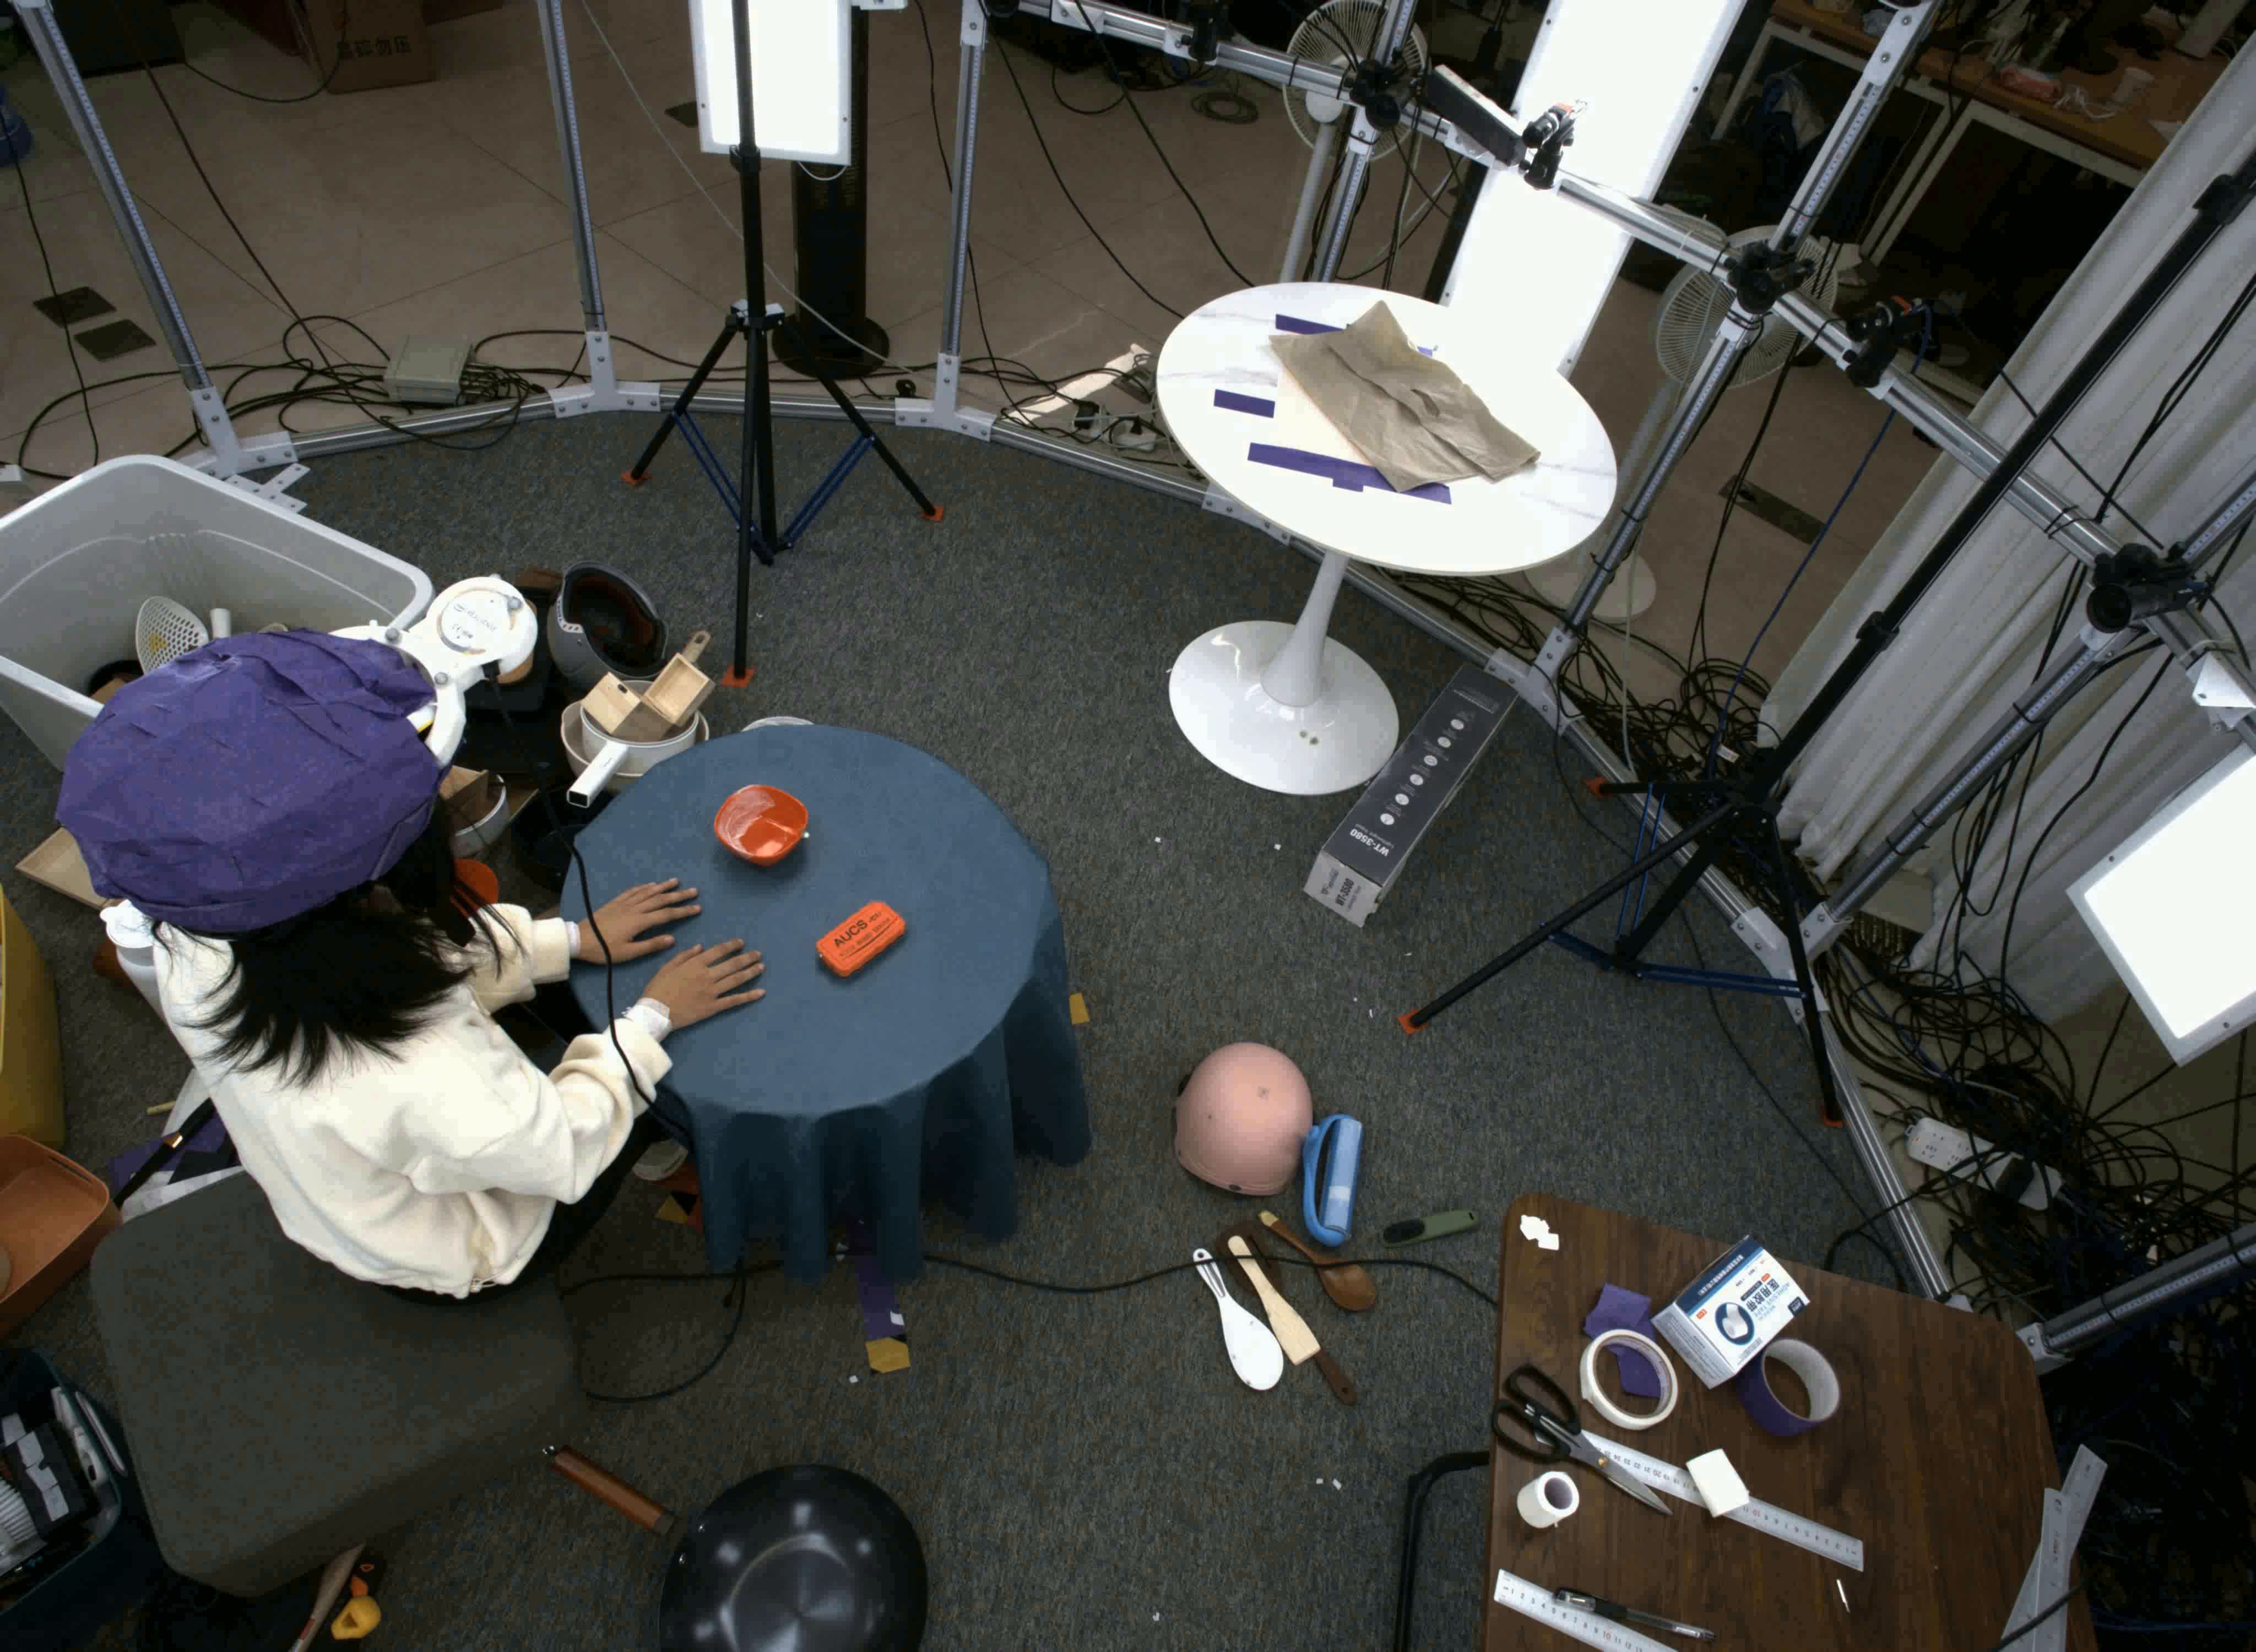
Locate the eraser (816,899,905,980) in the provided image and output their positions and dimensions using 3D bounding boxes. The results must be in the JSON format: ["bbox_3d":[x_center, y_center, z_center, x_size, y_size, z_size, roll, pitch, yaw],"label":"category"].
[{"bbox_3d":[-0.334,0.139,1.624,0.058,0.023,0.108,41,55,14],"label":"eraser"}]

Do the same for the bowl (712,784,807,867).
[{"bbox_3d":[-0.474,0.006,1.669,0.119,0.052,0.117,8,54,-9],"label":"bowl"}]
